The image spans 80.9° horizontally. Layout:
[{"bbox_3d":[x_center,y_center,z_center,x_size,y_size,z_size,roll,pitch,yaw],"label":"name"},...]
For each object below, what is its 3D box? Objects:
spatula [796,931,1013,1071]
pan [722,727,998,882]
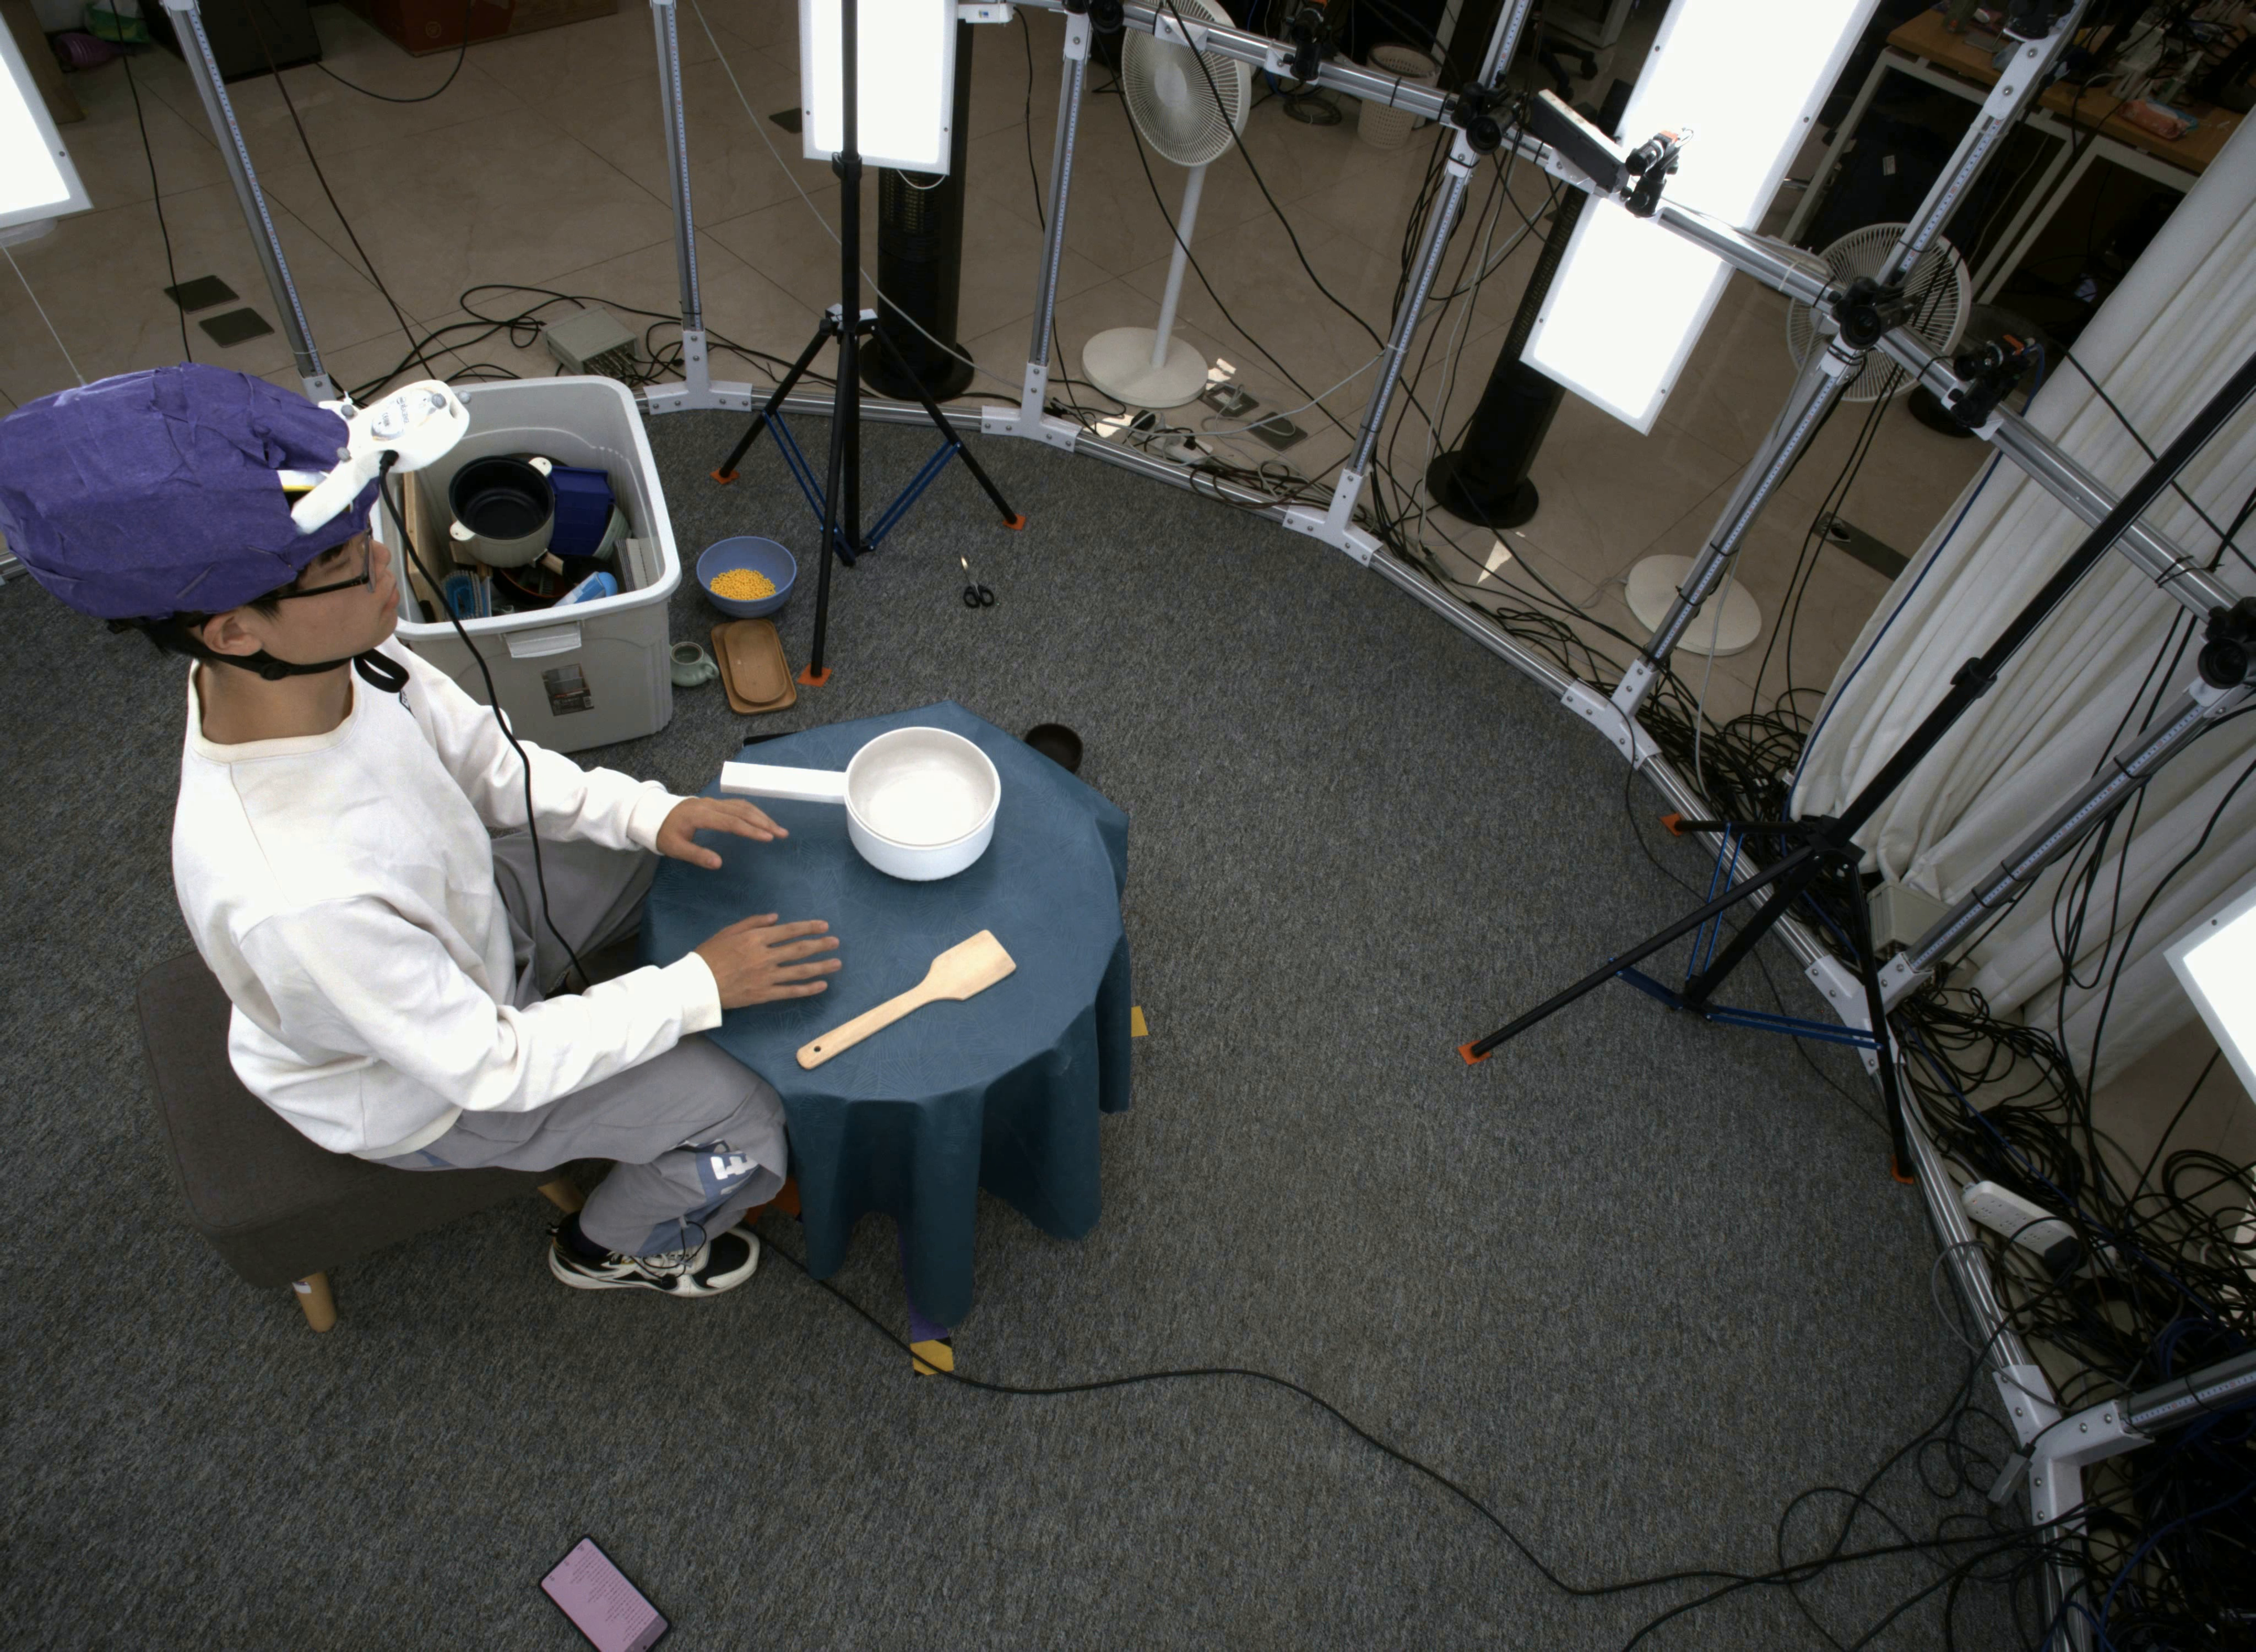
[{"bbox_3d":[-0.276,0.219,1.602,0.294,0.011,0.070,-28,66,-29],"label":"spatula"},{"bbox_3d":[-0.349,-0.029,1.713,0.354,0.104,0.197,4,54,-9],"label":"pan"}]
